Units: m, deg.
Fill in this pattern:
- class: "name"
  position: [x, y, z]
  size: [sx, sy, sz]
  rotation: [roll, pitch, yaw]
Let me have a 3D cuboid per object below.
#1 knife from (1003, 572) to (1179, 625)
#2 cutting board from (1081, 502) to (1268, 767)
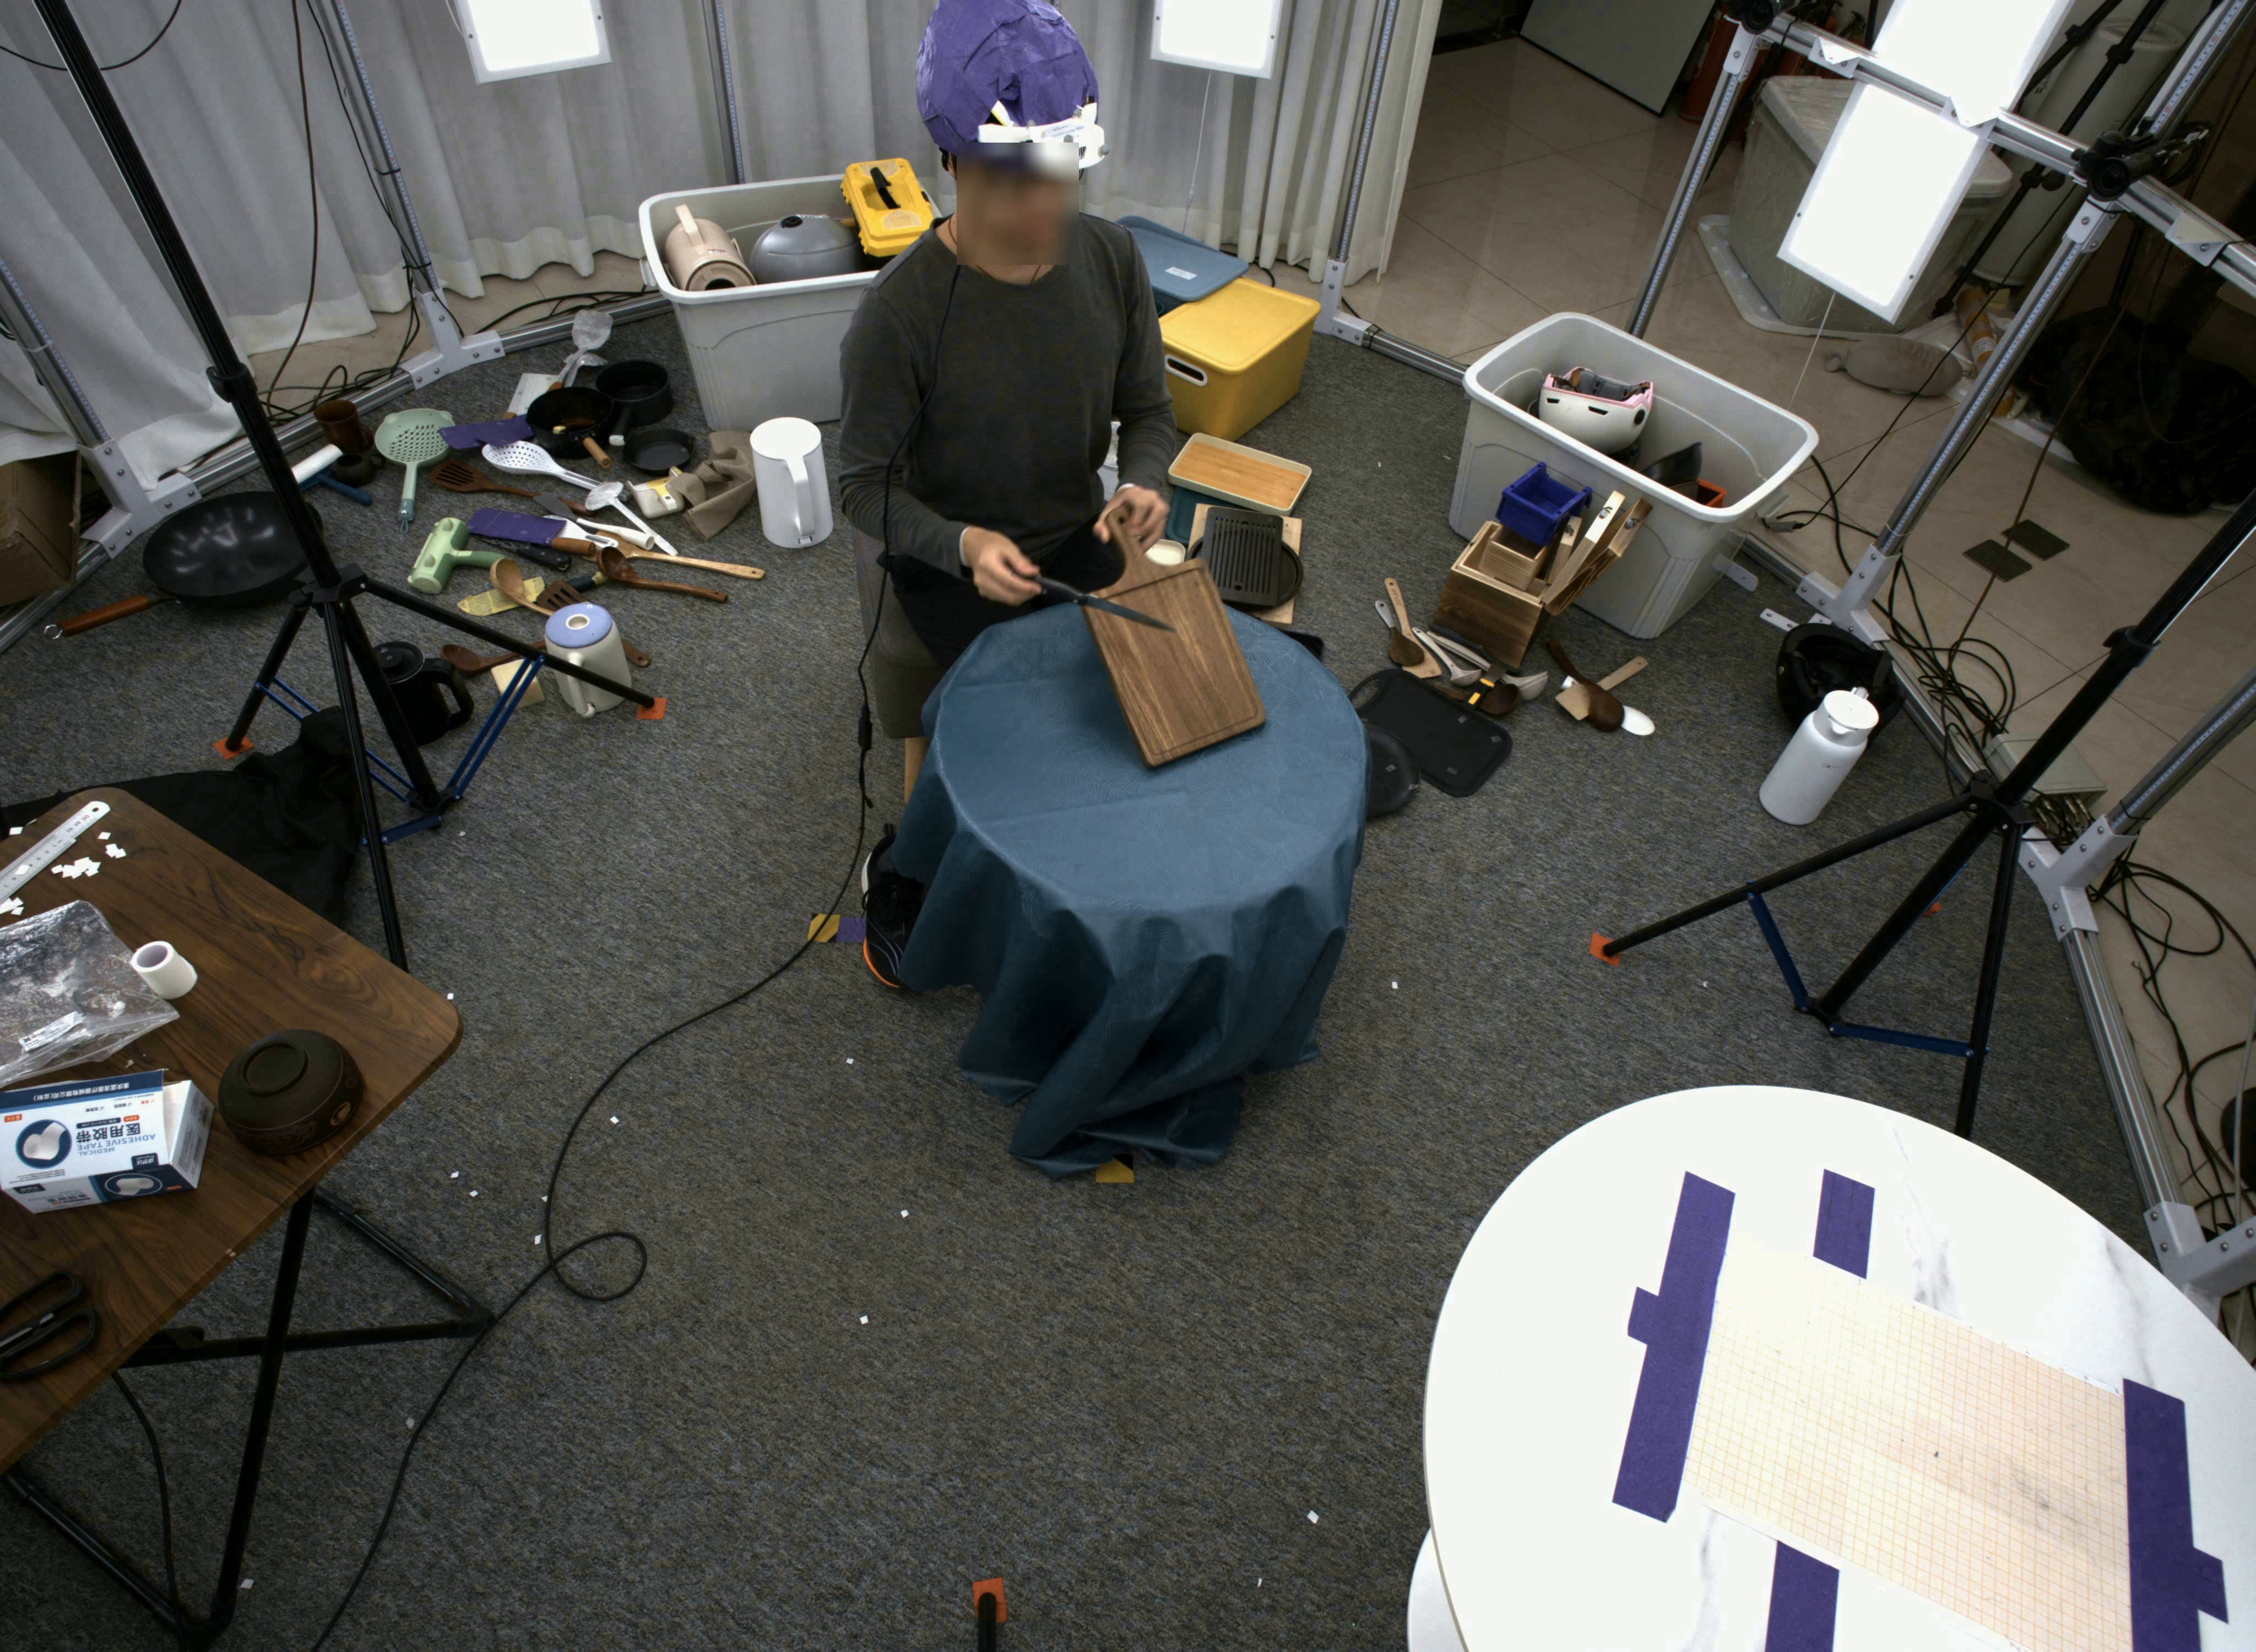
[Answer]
- class: "knife"
  position: [-0.048, -0.293, 1.684]
  size: [0.238, 0.024, 0.016]
  rotation: [15, 64, 0]
- class: "cutting board"
  position: [0.049, -0.276, 1.764]
  size: [0.201, 0.023, 0.352]
  rotation: [-21, 90, -21]
